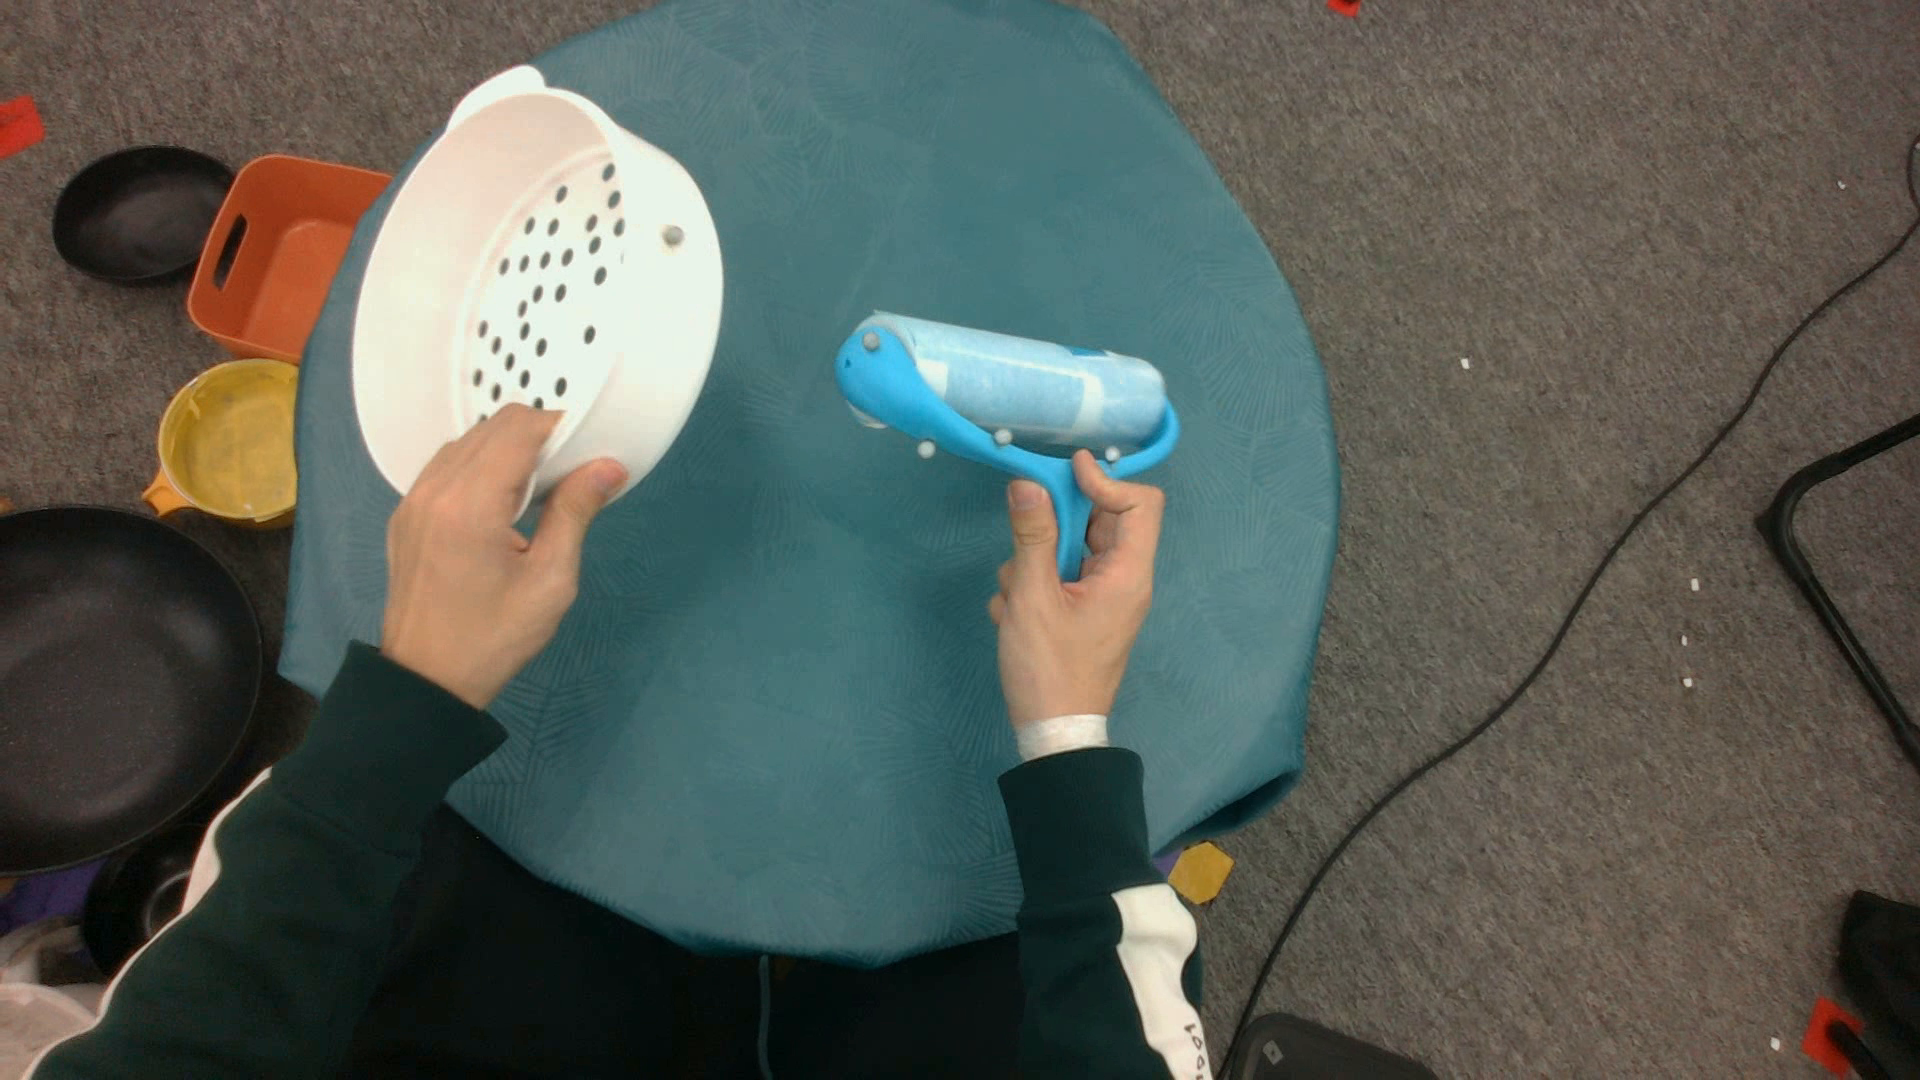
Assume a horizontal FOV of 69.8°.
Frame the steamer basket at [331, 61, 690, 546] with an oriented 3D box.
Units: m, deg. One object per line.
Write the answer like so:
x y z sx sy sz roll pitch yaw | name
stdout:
-0.215 -0.108 0.651 0.069 0.201 0.231 12 66 -52 | steamer basket

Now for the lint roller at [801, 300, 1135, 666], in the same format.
0.021 -0.030 0.697 0.229 0.067 0.180 -8 84 -53 | lint roller
